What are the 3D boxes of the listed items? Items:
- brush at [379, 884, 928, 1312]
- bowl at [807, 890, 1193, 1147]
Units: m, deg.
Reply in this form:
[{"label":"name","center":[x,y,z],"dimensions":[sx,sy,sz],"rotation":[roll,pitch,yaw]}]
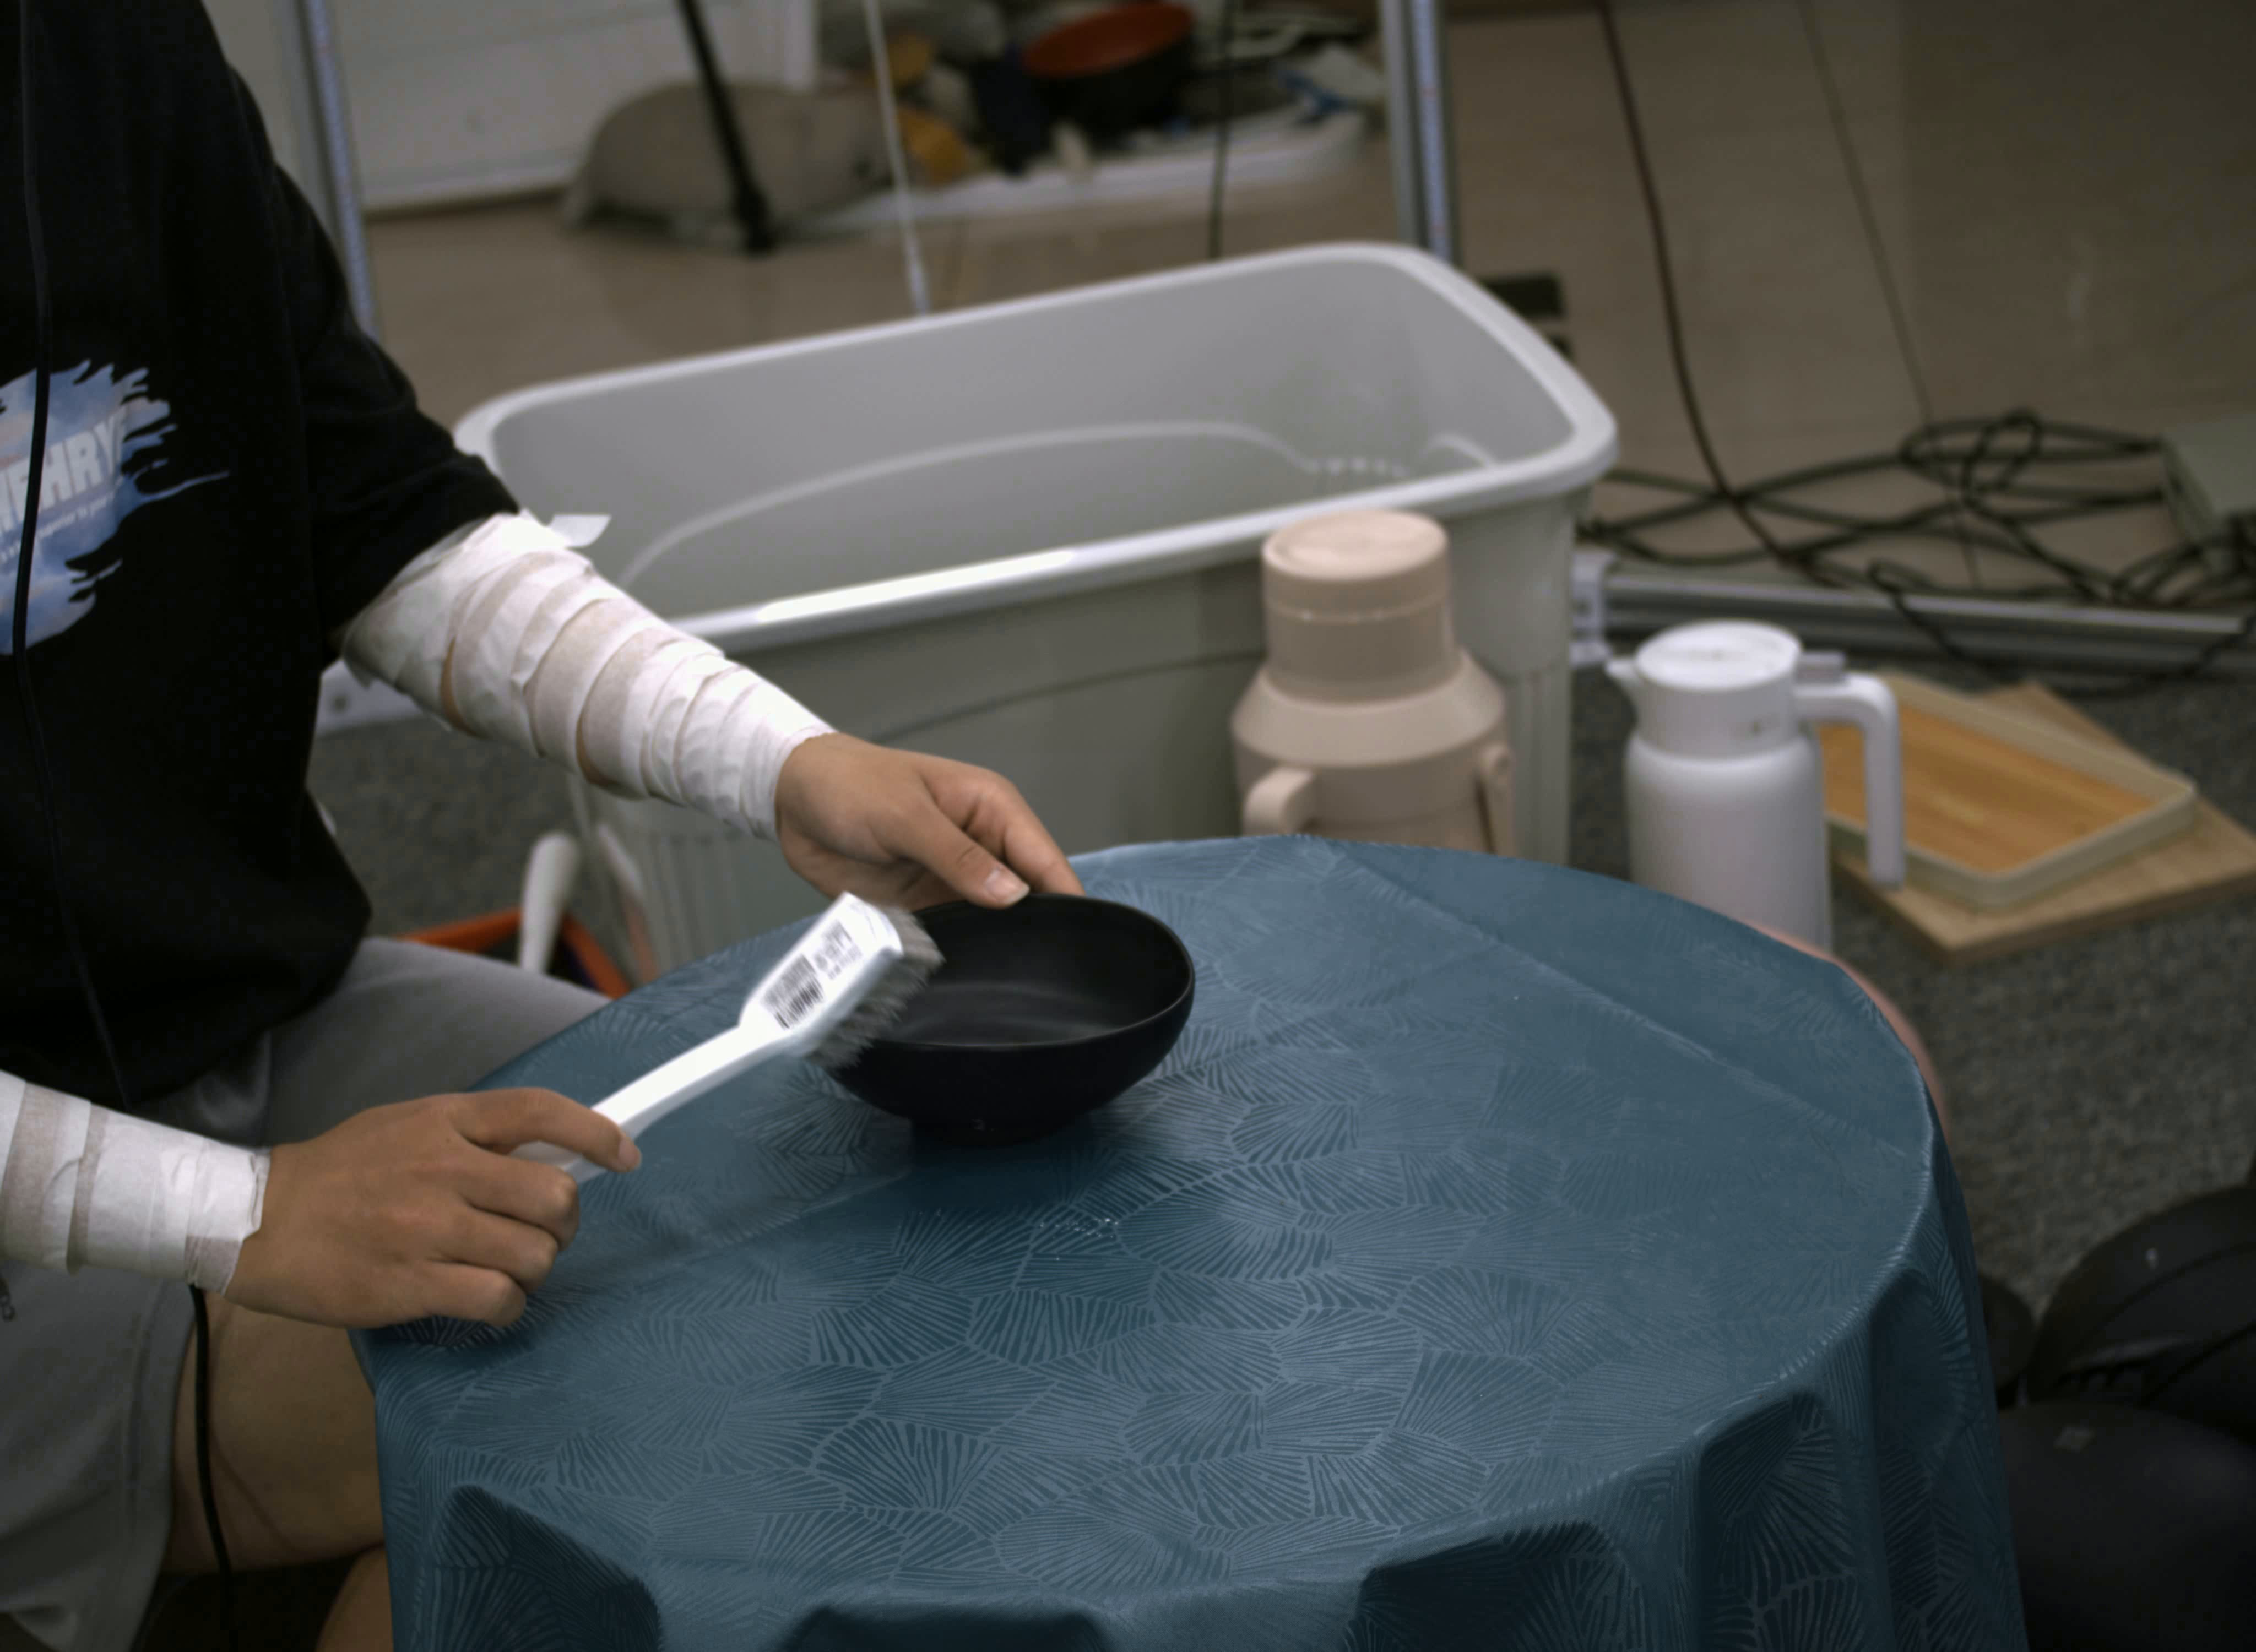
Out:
[{"label":"brush","center":[-0.177,0.109,2.132],"dimensions":[0.243,0.051,0.034],"rotation":[-40,56,-6]},{"label":"bowl","center":[-0.052,0.083,2.206],"dimensions":[0.170,0.068,0.135],"rotation":[3,27,26]}]
